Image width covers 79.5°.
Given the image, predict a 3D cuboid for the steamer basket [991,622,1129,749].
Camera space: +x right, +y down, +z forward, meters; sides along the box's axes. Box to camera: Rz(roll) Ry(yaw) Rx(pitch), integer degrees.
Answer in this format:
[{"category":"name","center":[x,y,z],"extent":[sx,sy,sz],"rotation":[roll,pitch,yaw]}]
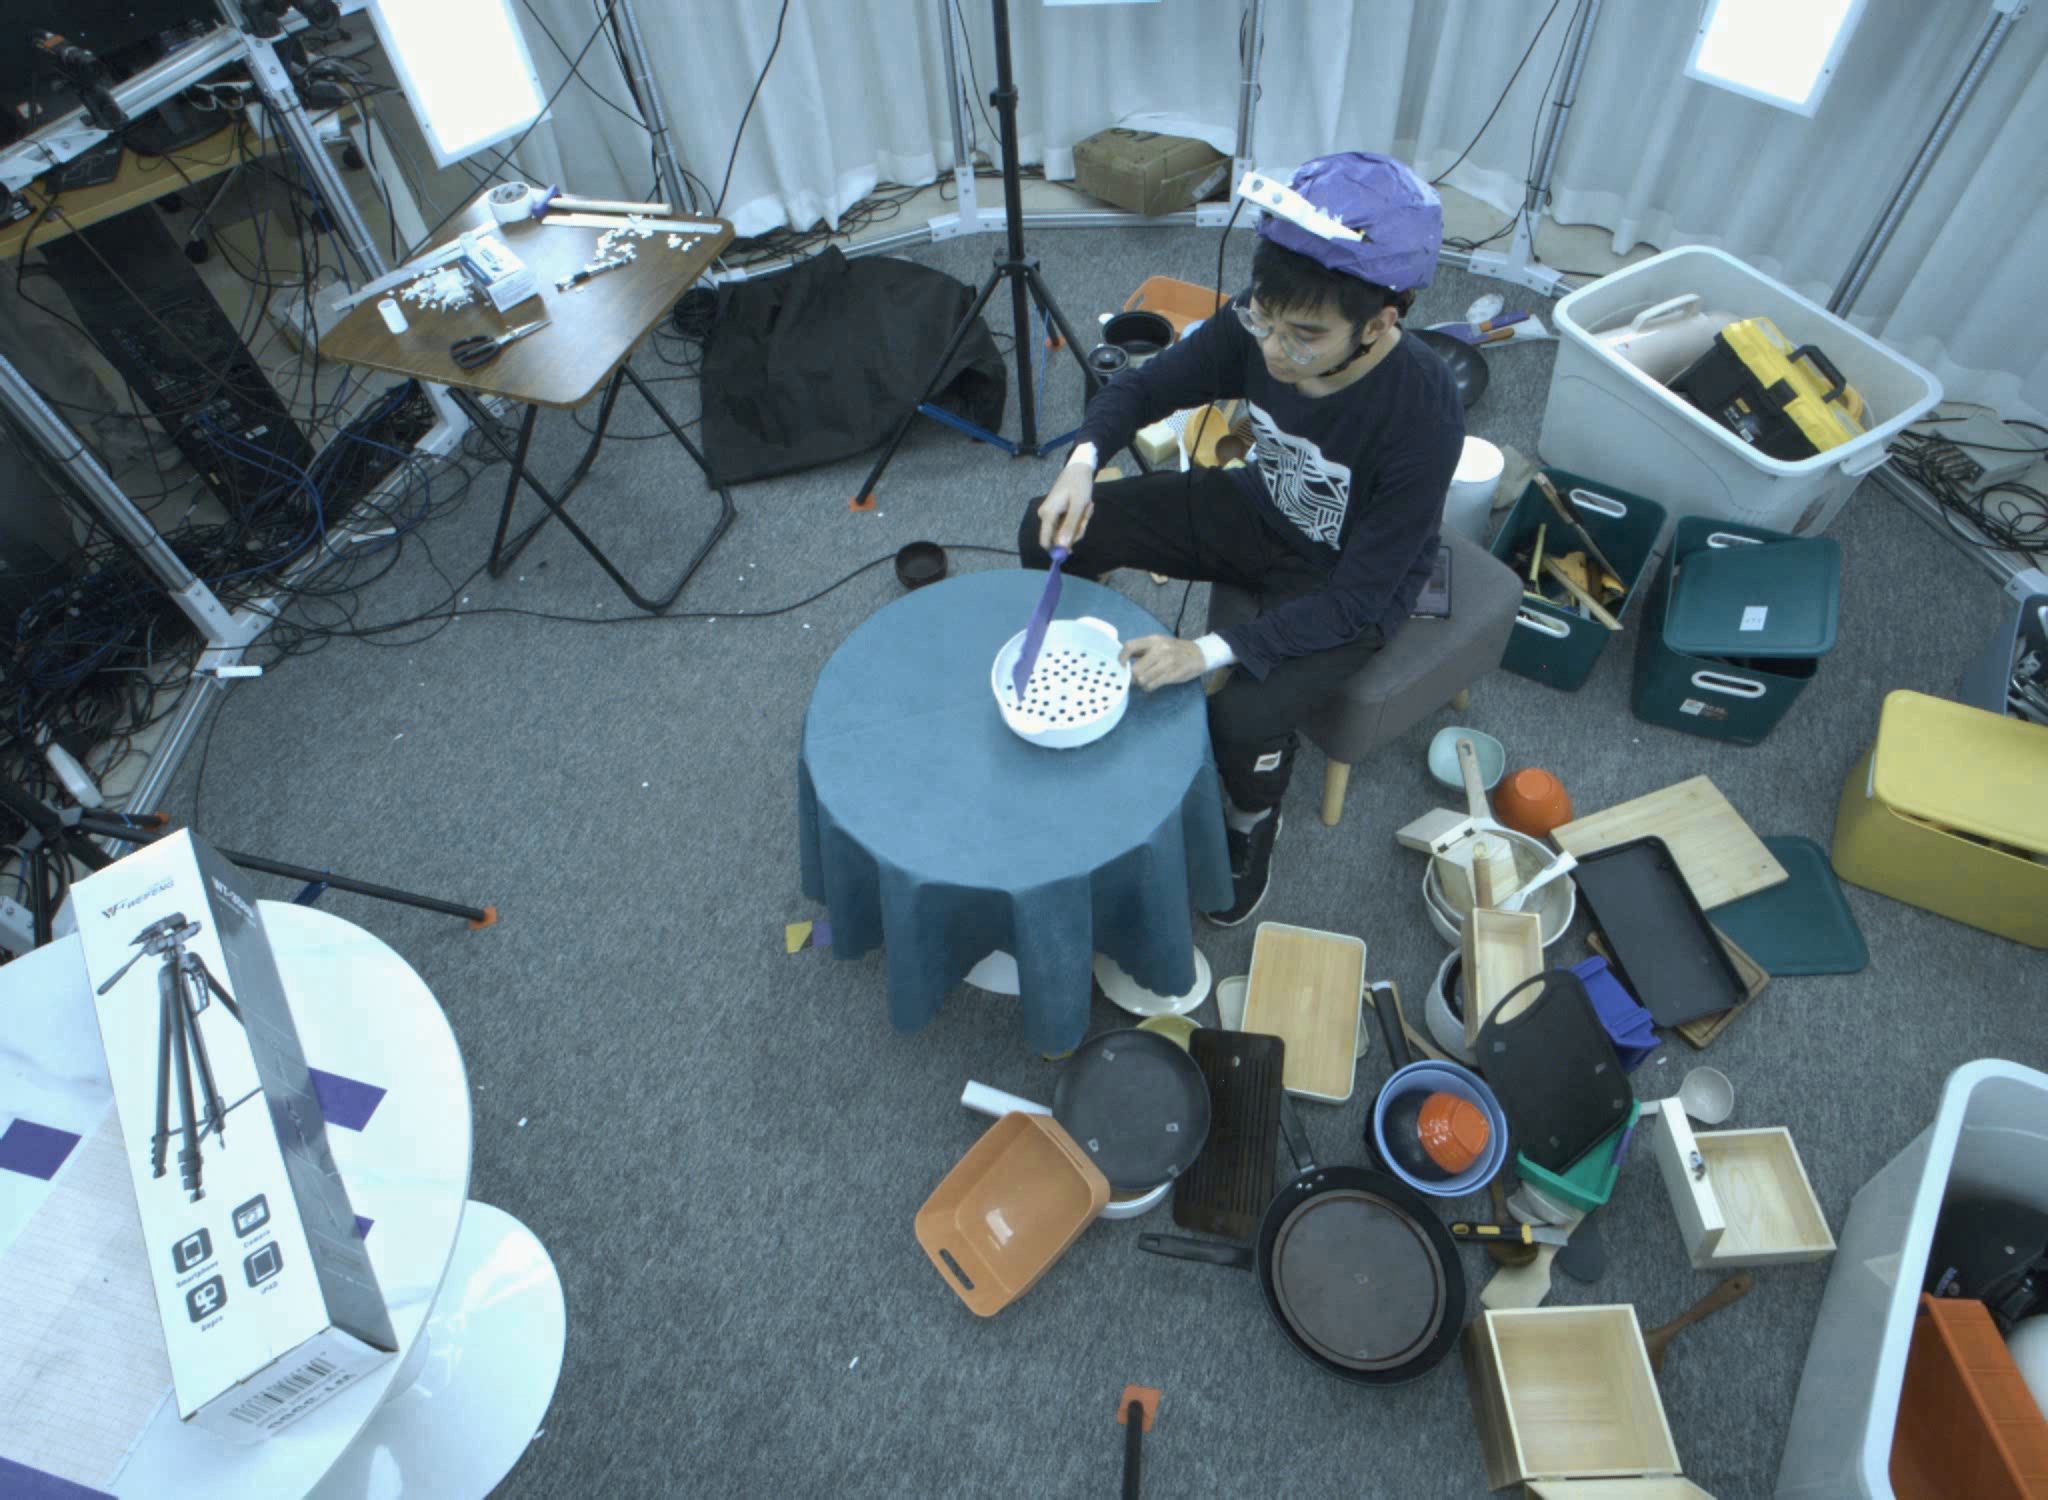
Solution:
[{"category":"steamer basket","center":[0.053,-0.092,1.815],"extent":[0.199,0.070,0.231],"rotation":[28,59,20]}]

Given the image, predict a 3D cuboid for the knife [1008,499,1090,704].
[{"category":"knife","center":[0.034,-0.218,1.800],"extent":[0.032,0.105,0.314],"rotation":[17,71,11]}]
